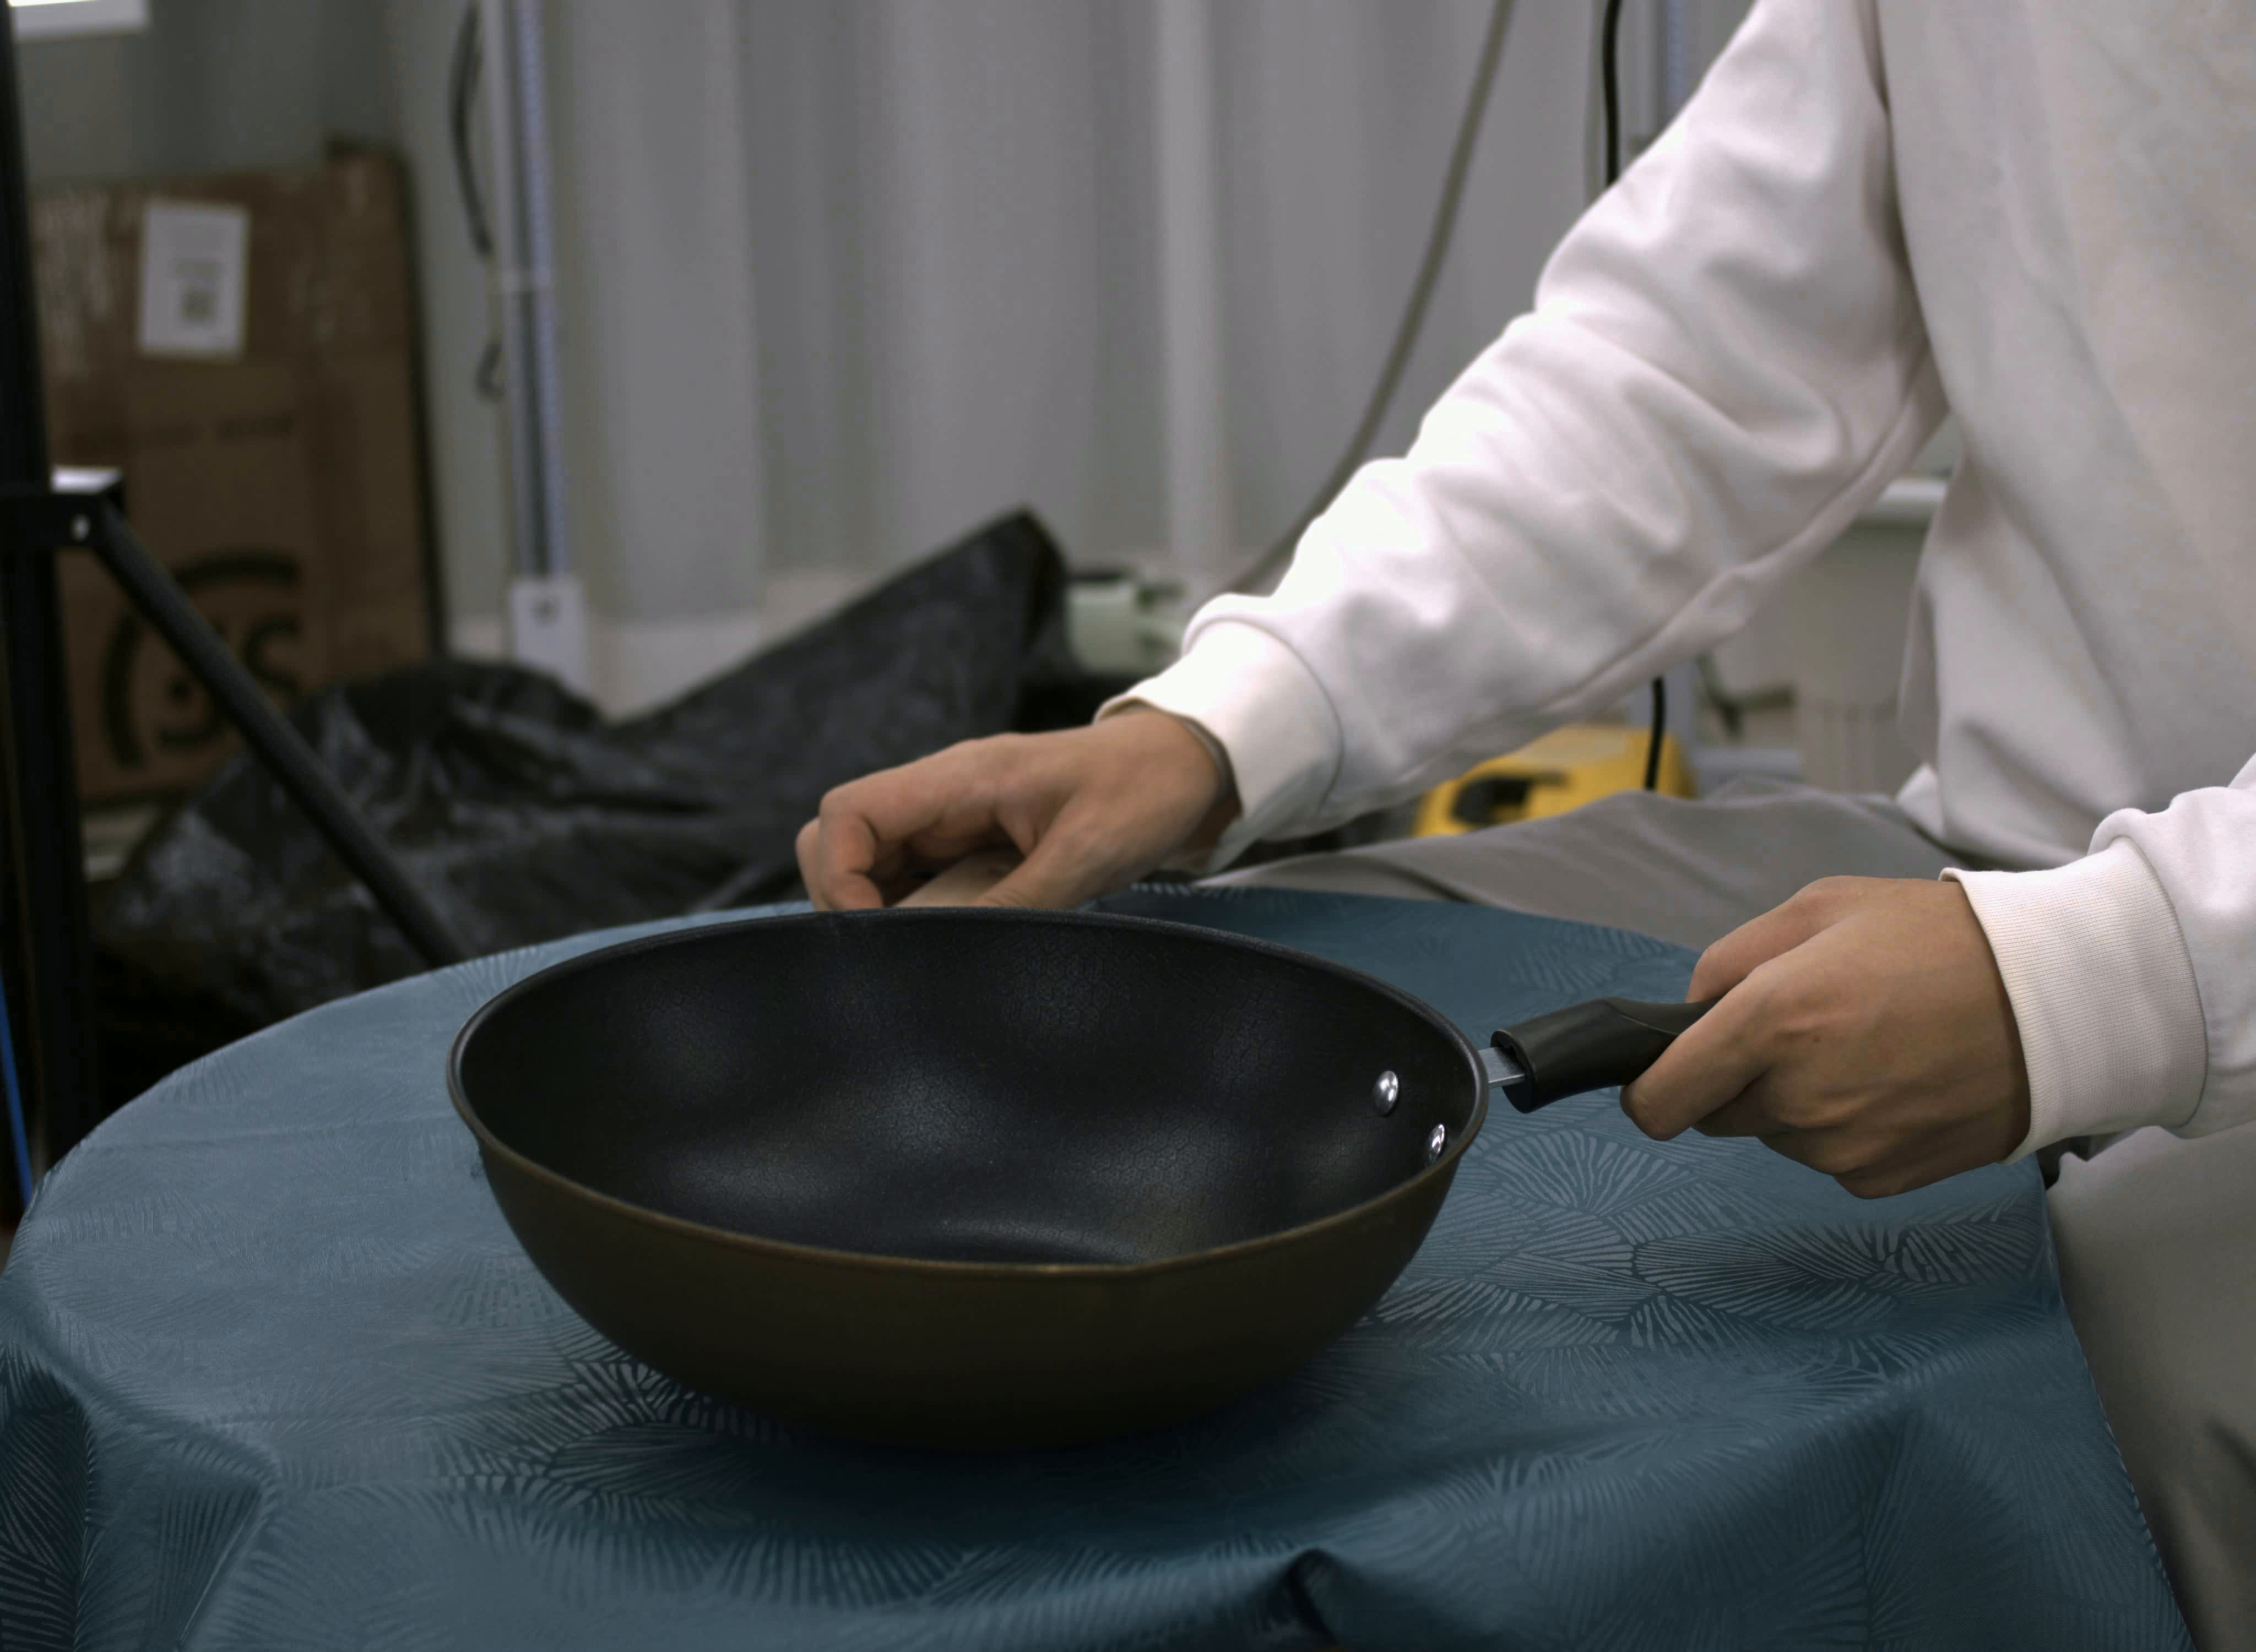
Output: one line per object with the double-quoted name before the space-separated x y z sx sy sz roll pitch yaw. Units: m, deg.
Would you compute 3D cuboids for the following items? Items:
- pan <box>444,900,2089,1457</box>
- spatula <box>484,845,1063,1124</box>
"pan" 0.043 0.095 1.446 0.456 0.087 0.293 -3 18 -15
"spatula" -0.100 0.055 1.711 0.073 0.010 0.288 13 24 25
